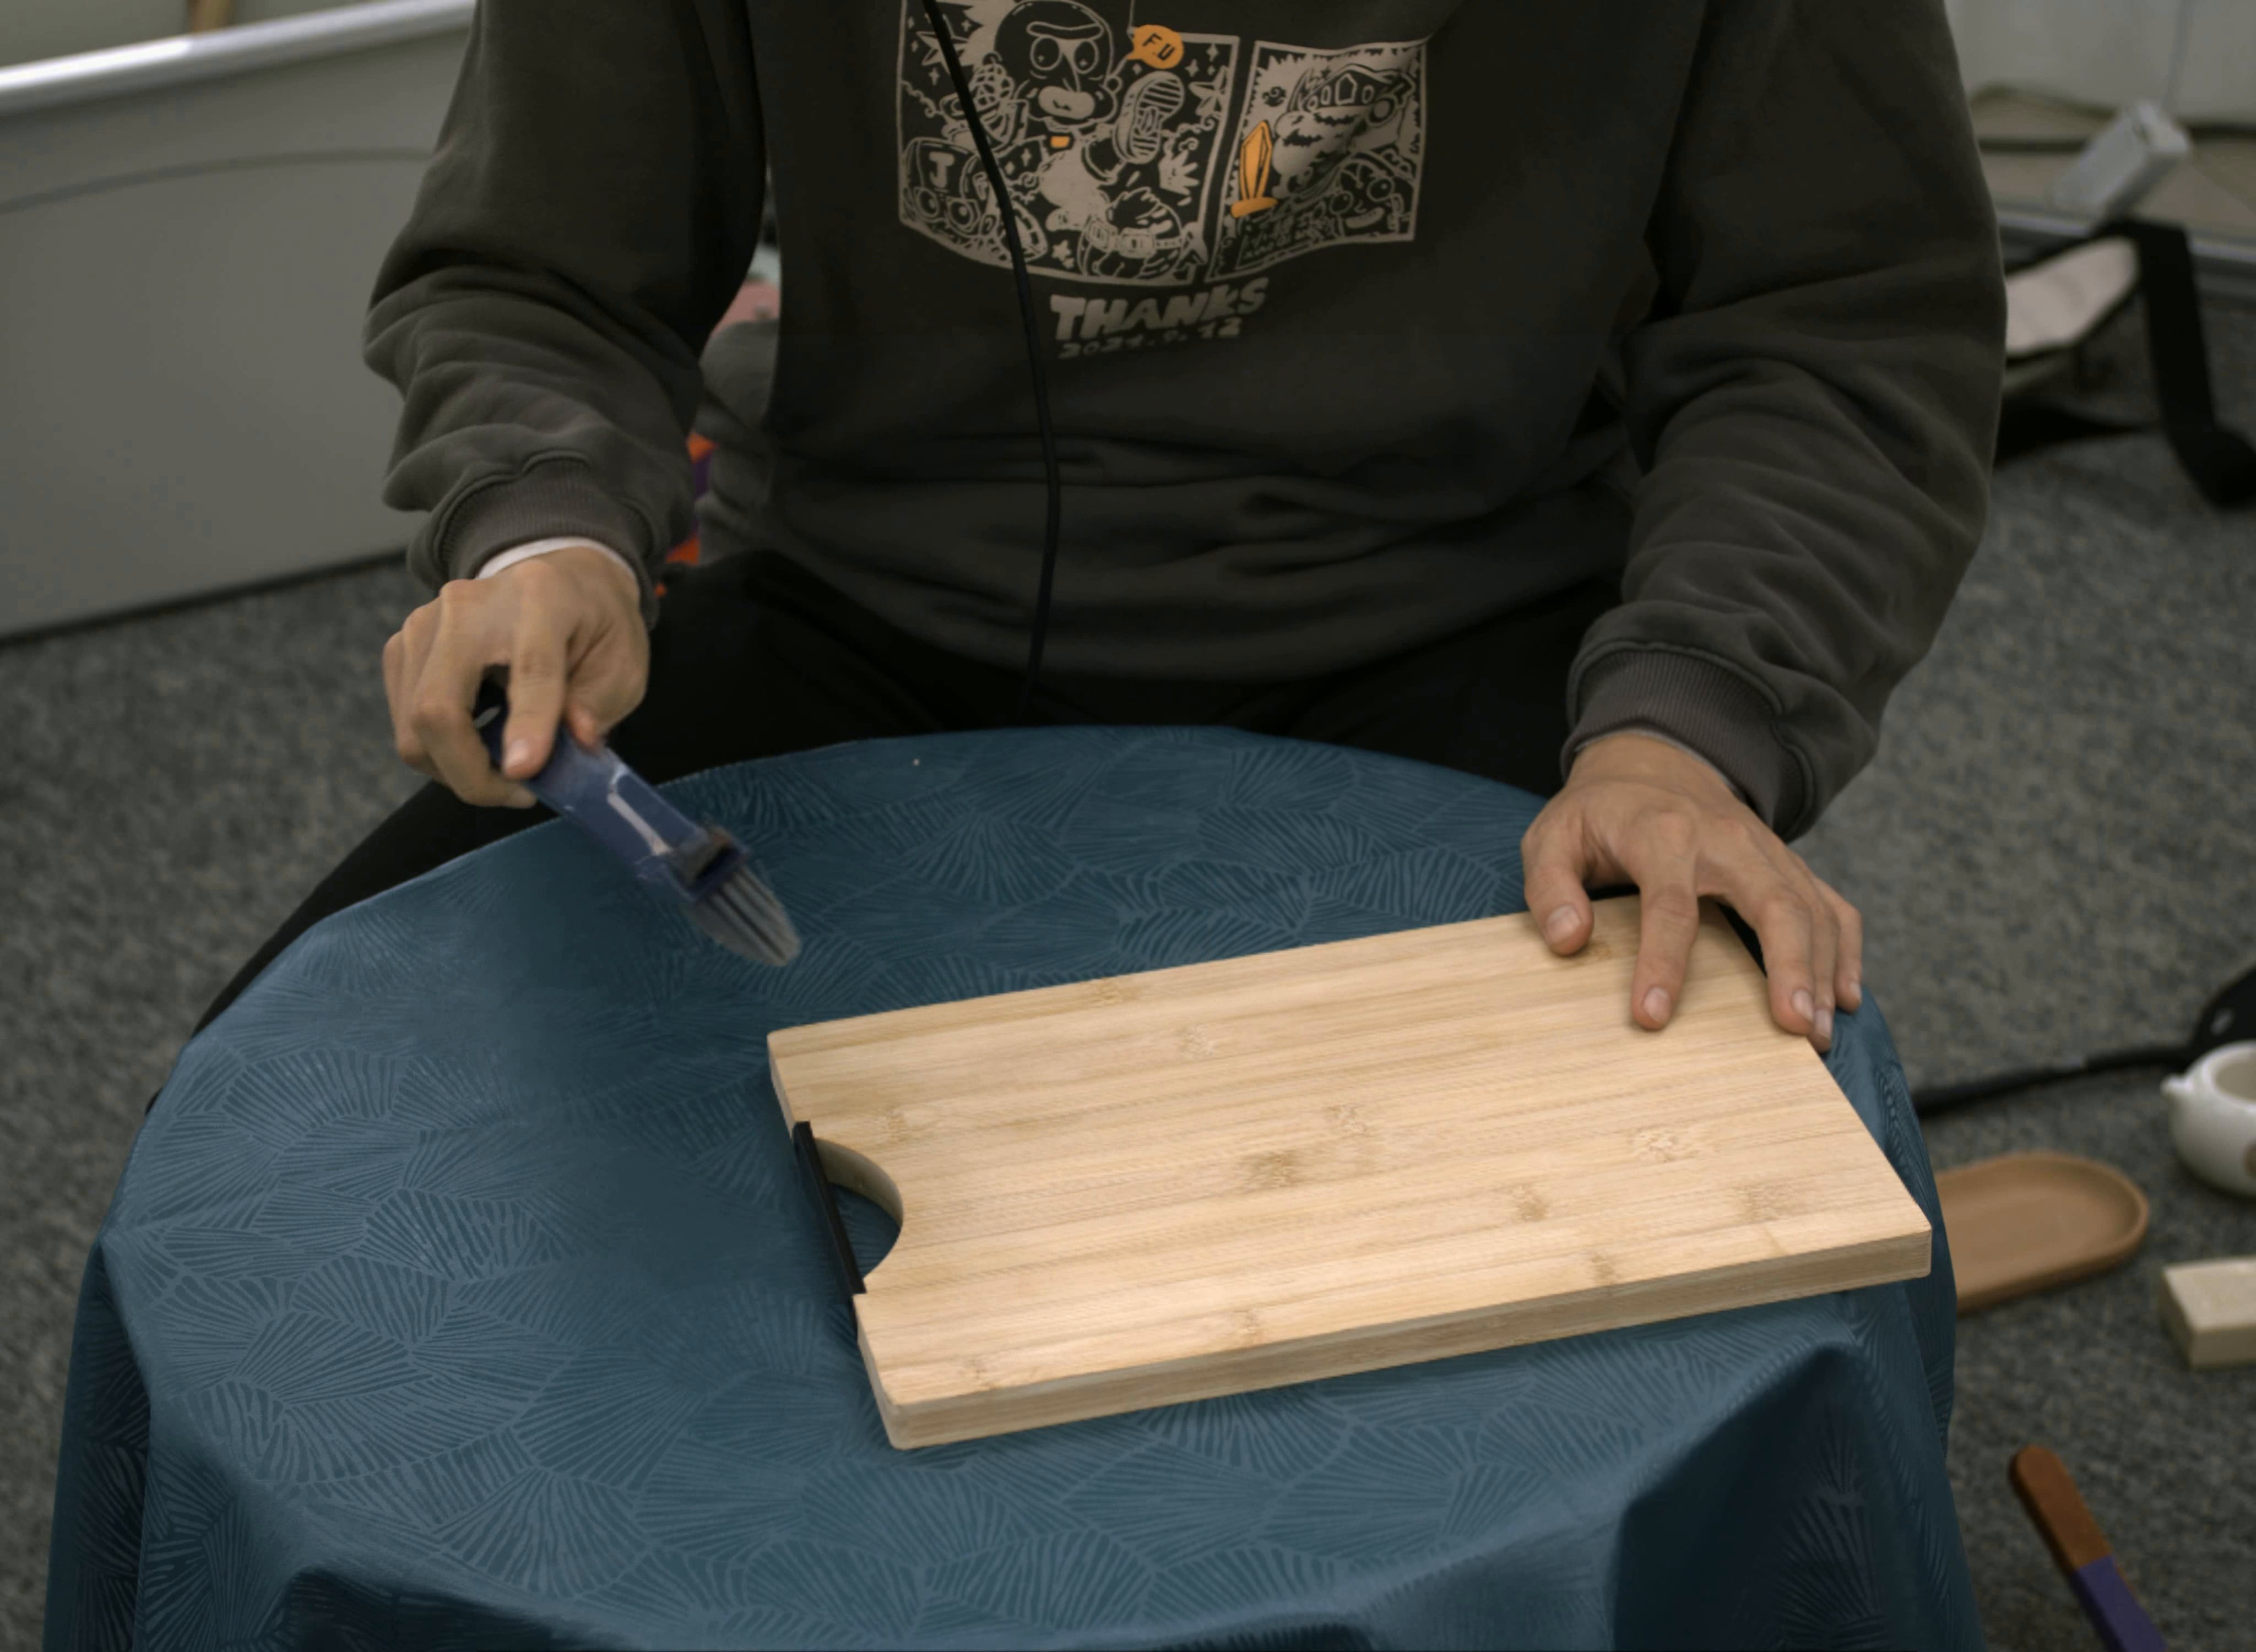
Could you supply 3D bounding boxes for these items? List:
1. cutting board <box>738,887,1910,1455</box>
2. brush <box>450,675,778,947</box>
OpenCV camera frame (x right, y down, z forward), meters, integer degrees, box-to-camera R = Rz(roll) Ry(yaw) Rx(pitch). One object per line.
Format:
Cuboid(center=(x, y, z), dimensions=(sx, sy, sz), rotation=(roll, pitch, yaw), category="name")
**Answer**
Cuboid(center=(0.060, 0.109, 1.861), dimensions=(0.348, 0.023, 0.253), rotation=(-9, 28, -11), category="cutting board")
Cuboid(center=(-0.179, -0.018, 1.852), dimensions=(0.034, 0.095, 0.274), rotation=(-44, 33, -9), category="brush")
